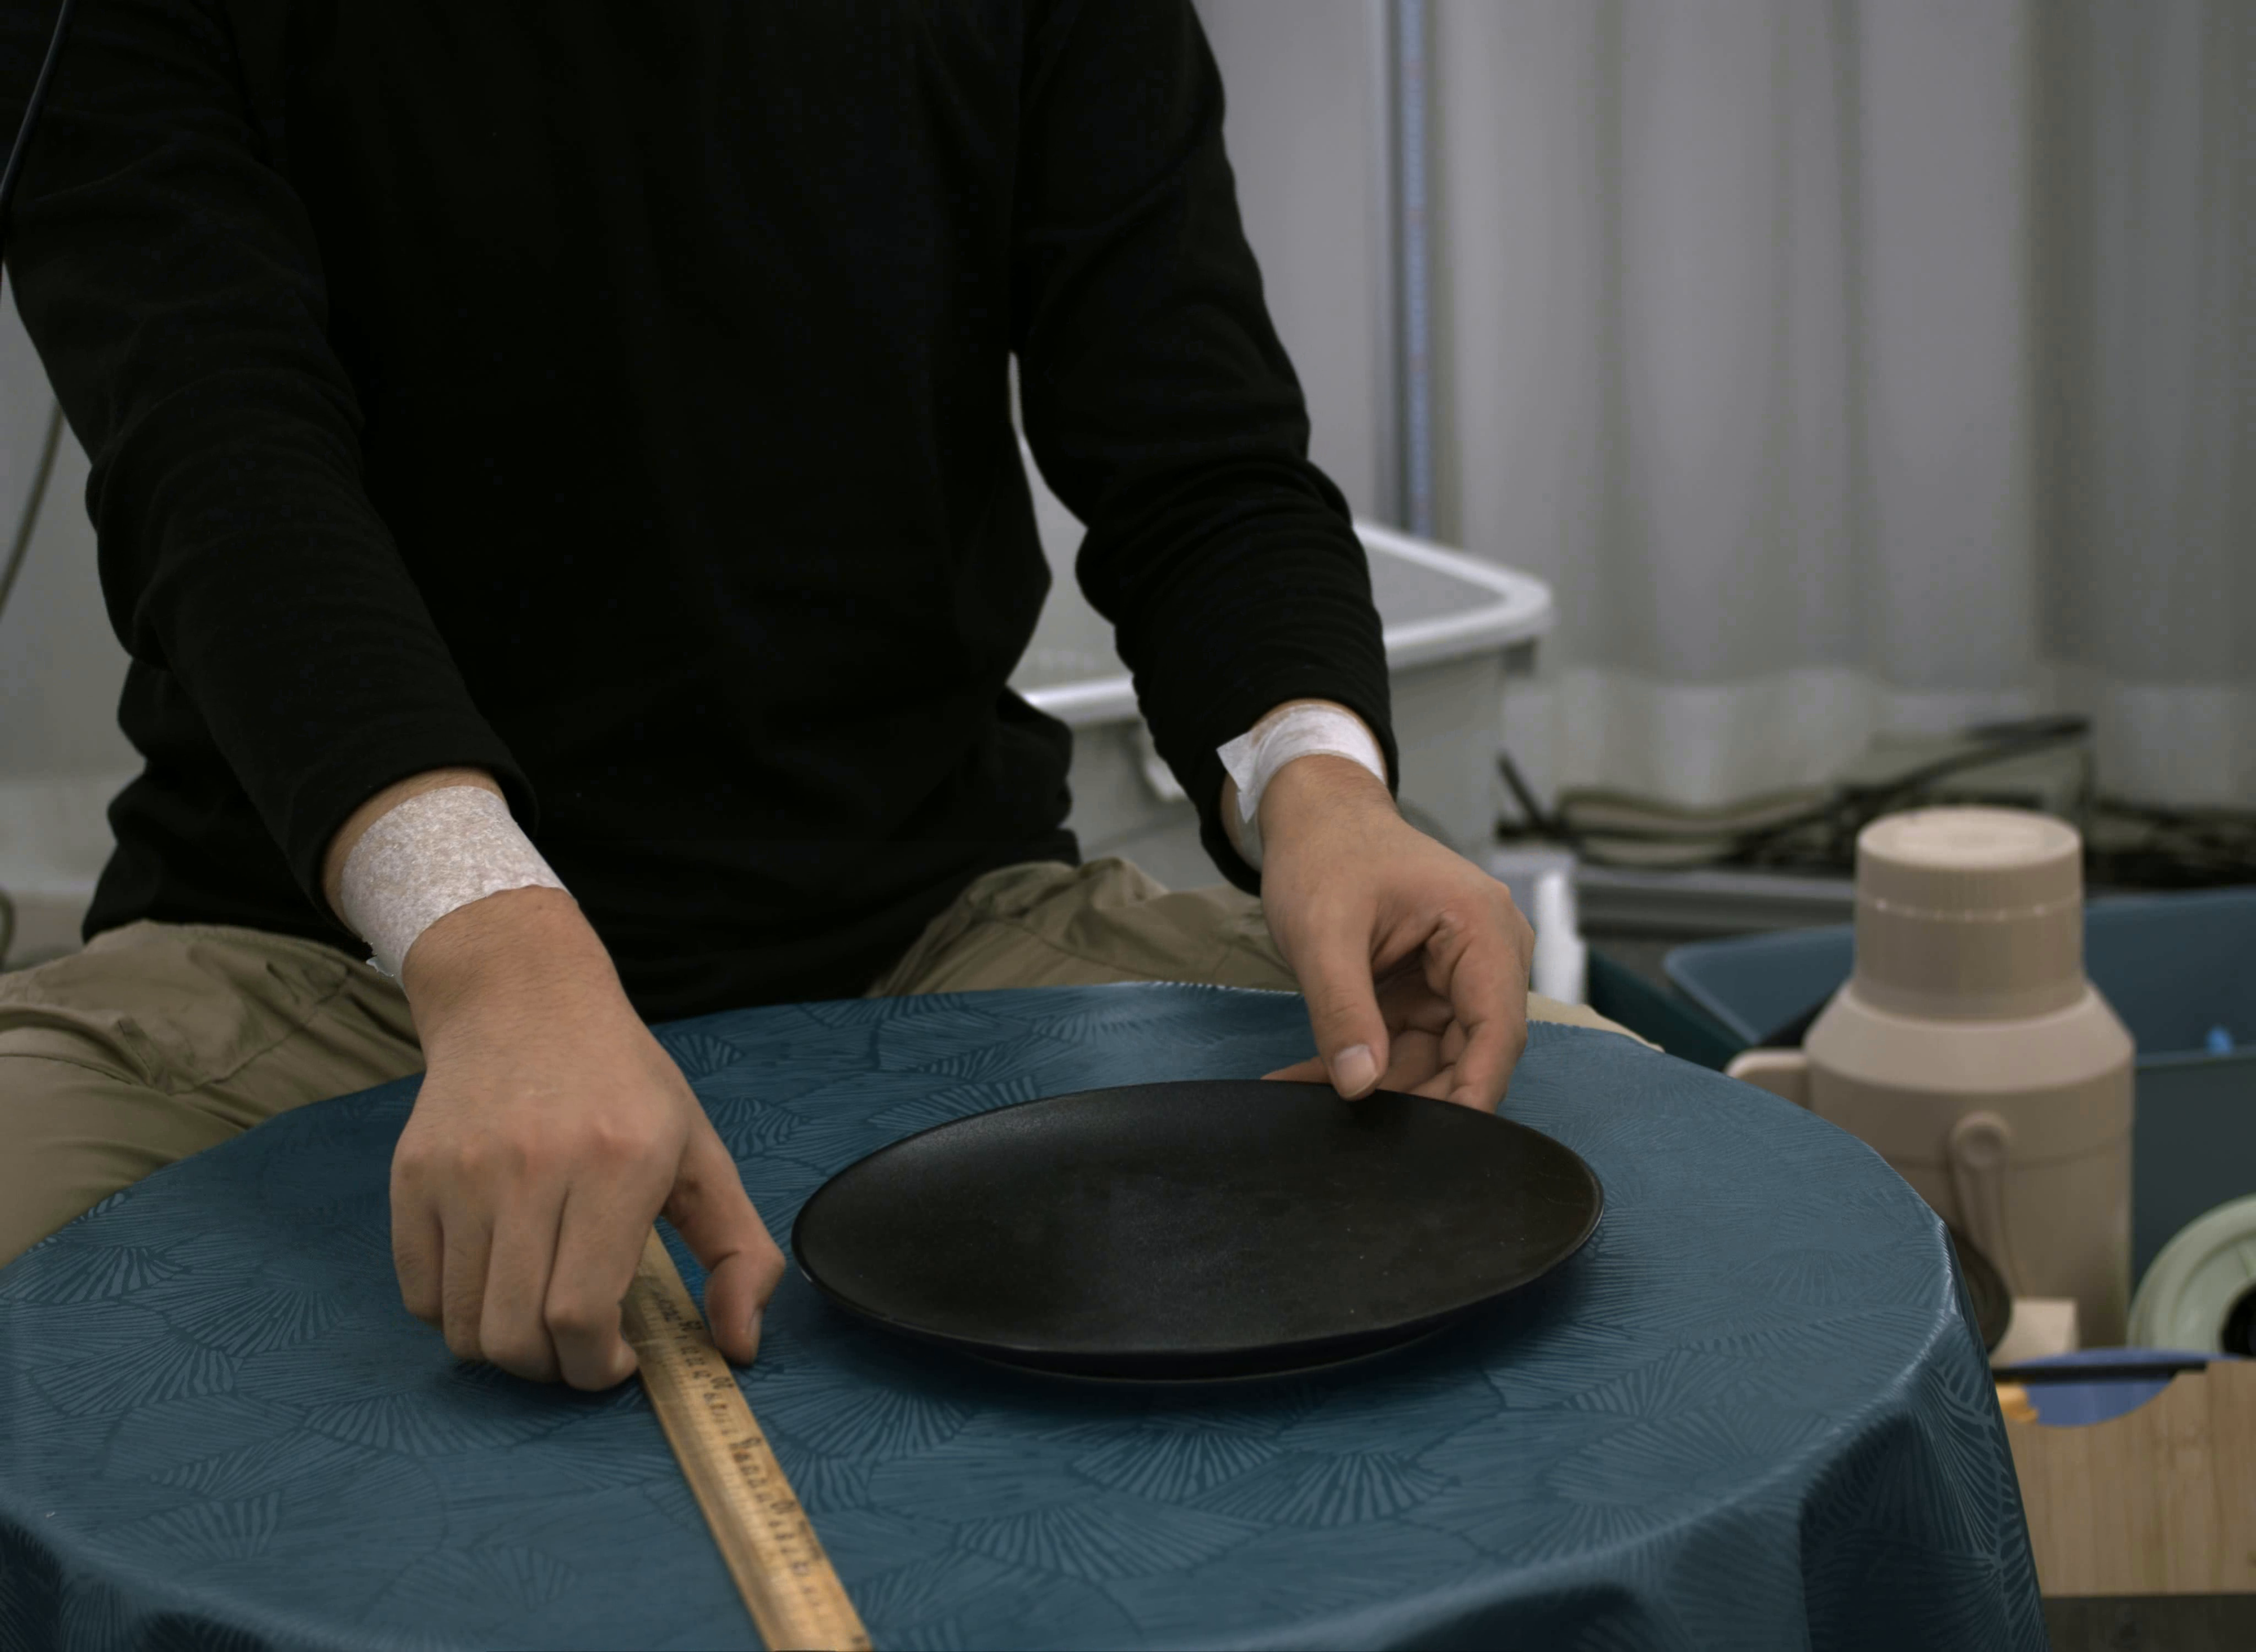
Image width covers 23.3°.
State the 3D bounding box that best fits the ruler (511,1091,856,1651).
[{"bbox_3d":[-0.136,0.150,1.598,0.026,0.006,0.504,-2,14,-13],"label":"ruler"}]

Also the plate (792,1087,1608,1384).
[{"bbox_3d":[0.022,0.124,1.630,0.243,0.023,0.246,-3,15,1],"label":"plate"}]
